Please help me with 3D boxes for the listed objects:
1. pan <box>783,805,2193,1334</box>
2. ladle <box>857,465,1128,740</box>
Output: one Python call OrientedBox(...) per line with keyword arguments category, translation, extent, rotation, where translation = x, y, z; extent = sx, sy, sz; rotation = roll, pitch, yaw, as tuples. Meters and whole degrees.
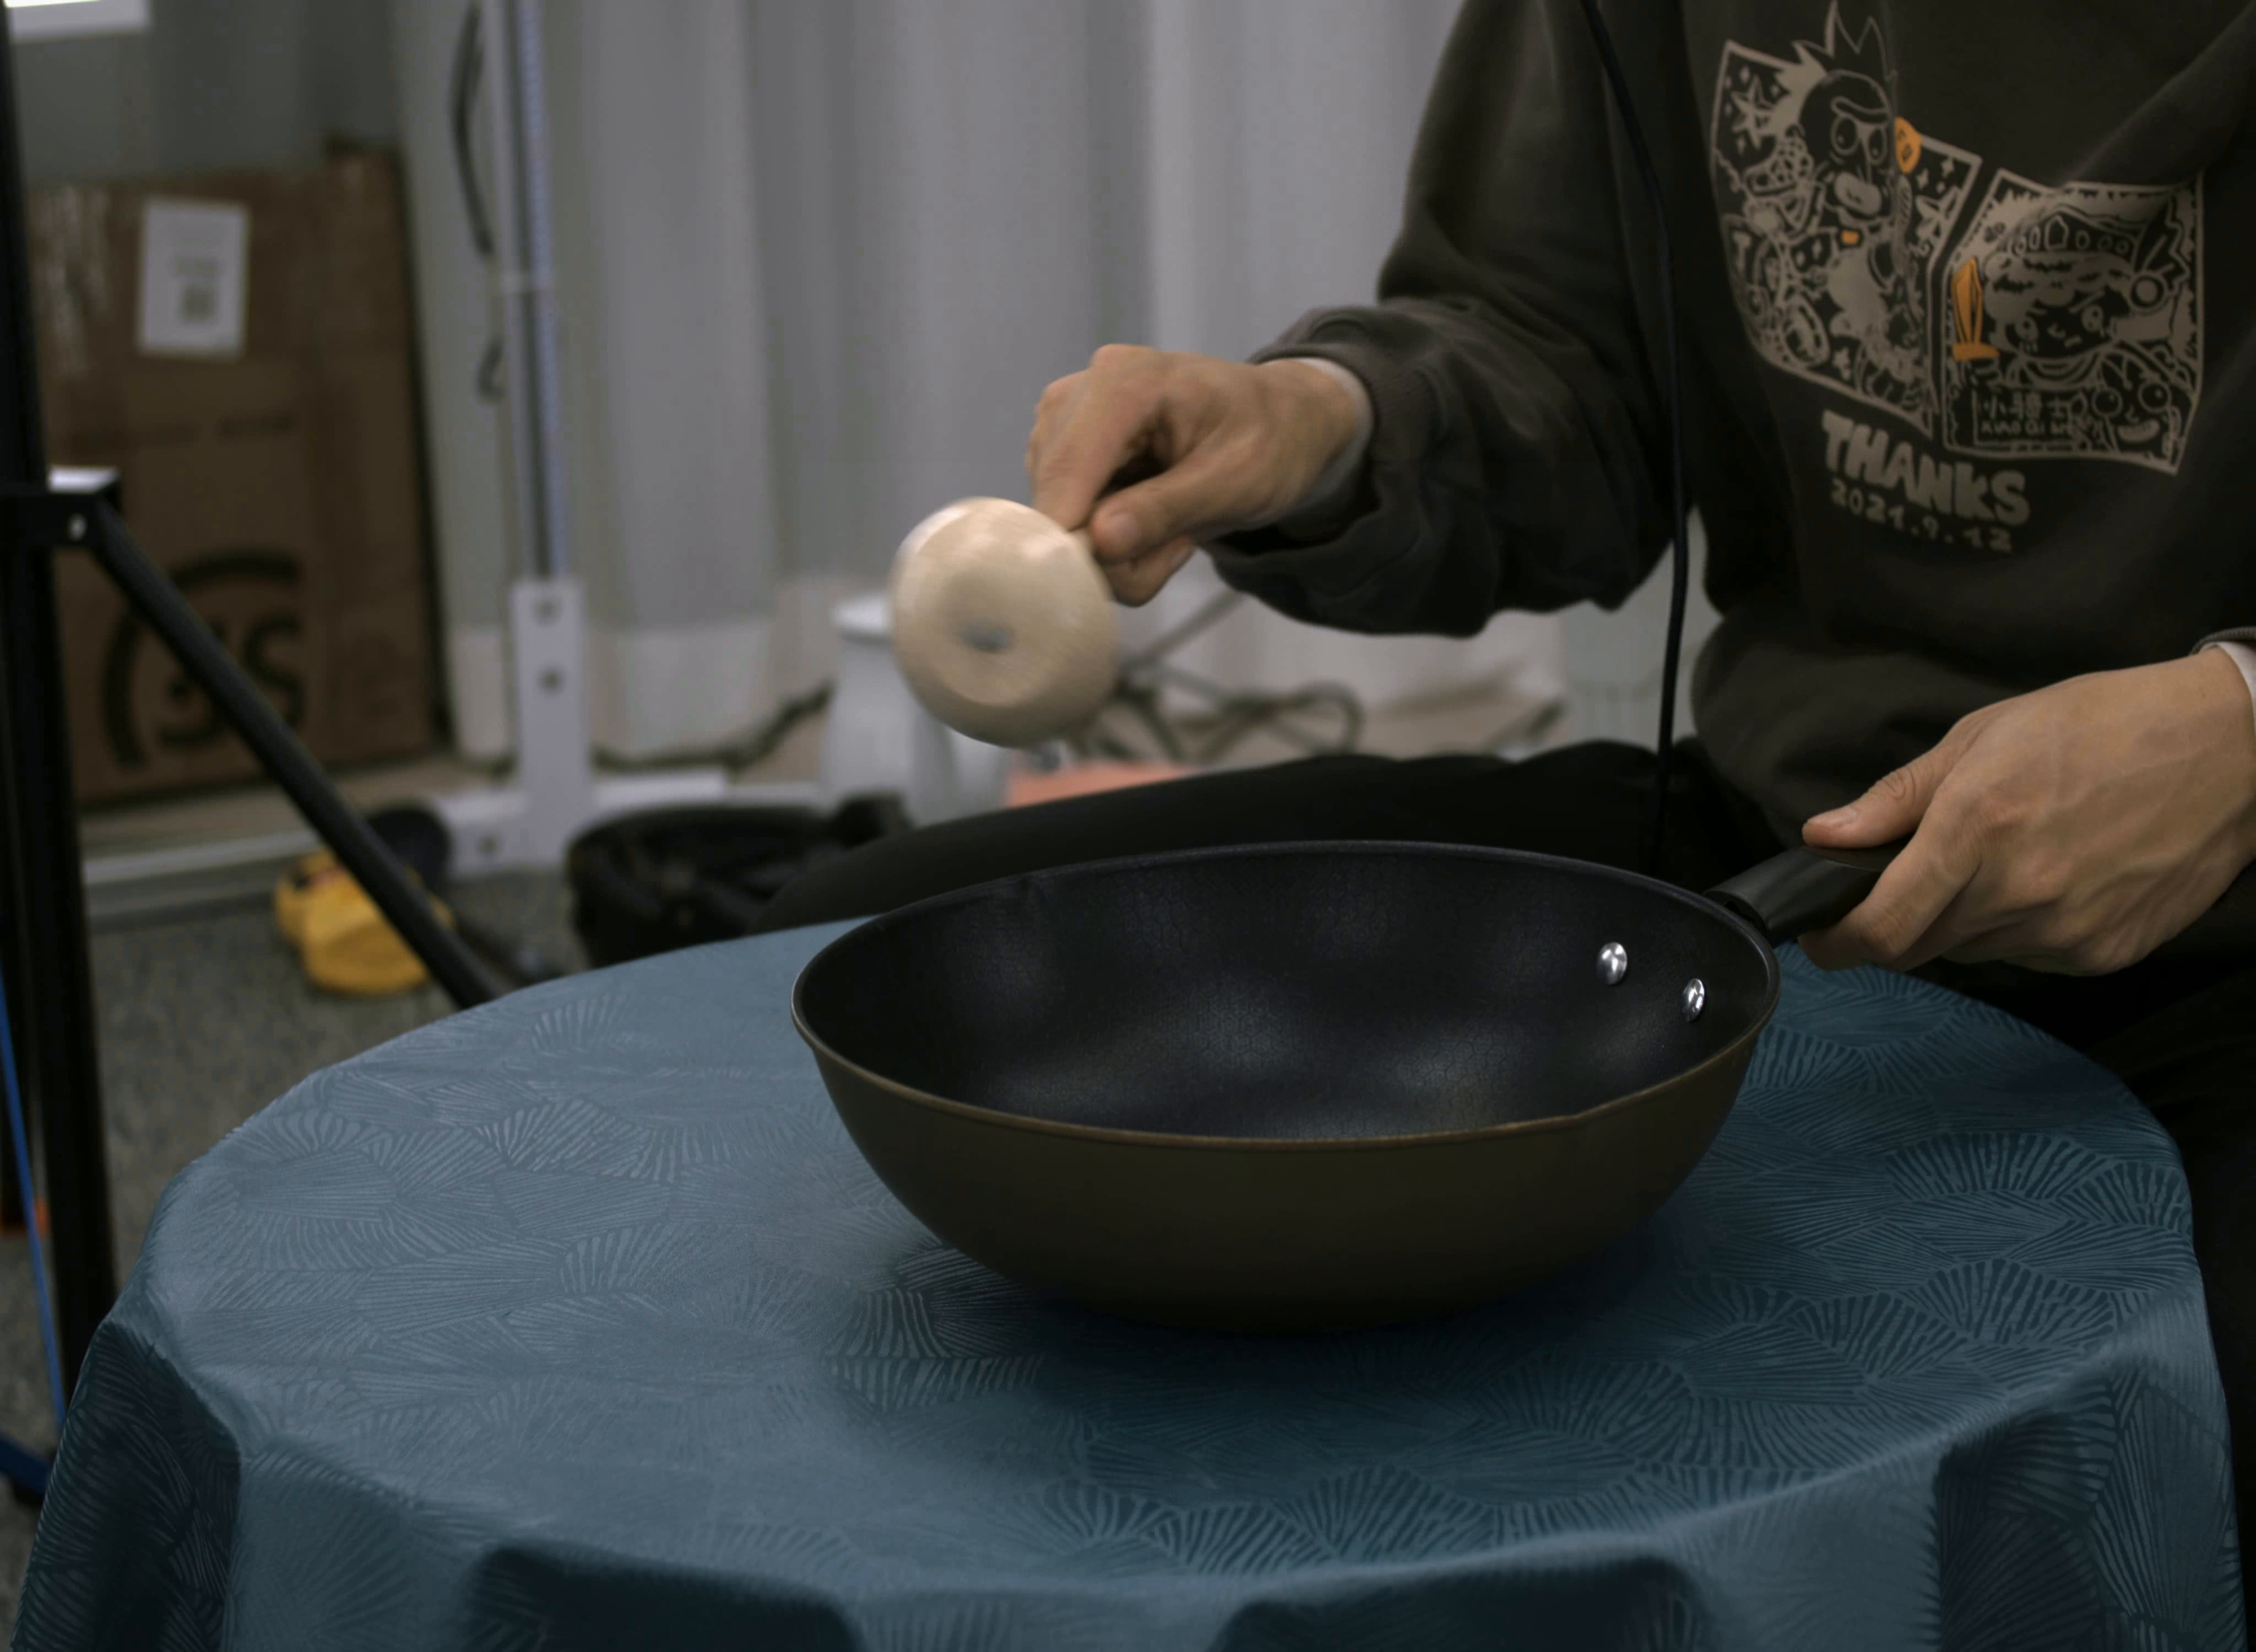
OrientedBox(category="pan", translation=(0.122, 0.065, 1.543), extent=(0.453, 0.087, 0.294), rotation=(-10, 17, -27))
OrientedBox(category="ladle", translation=(-0.013, -0.088, 1.602), extent=(0.073, 0.072, 0.252), rotation=(-26, 7, 24))
